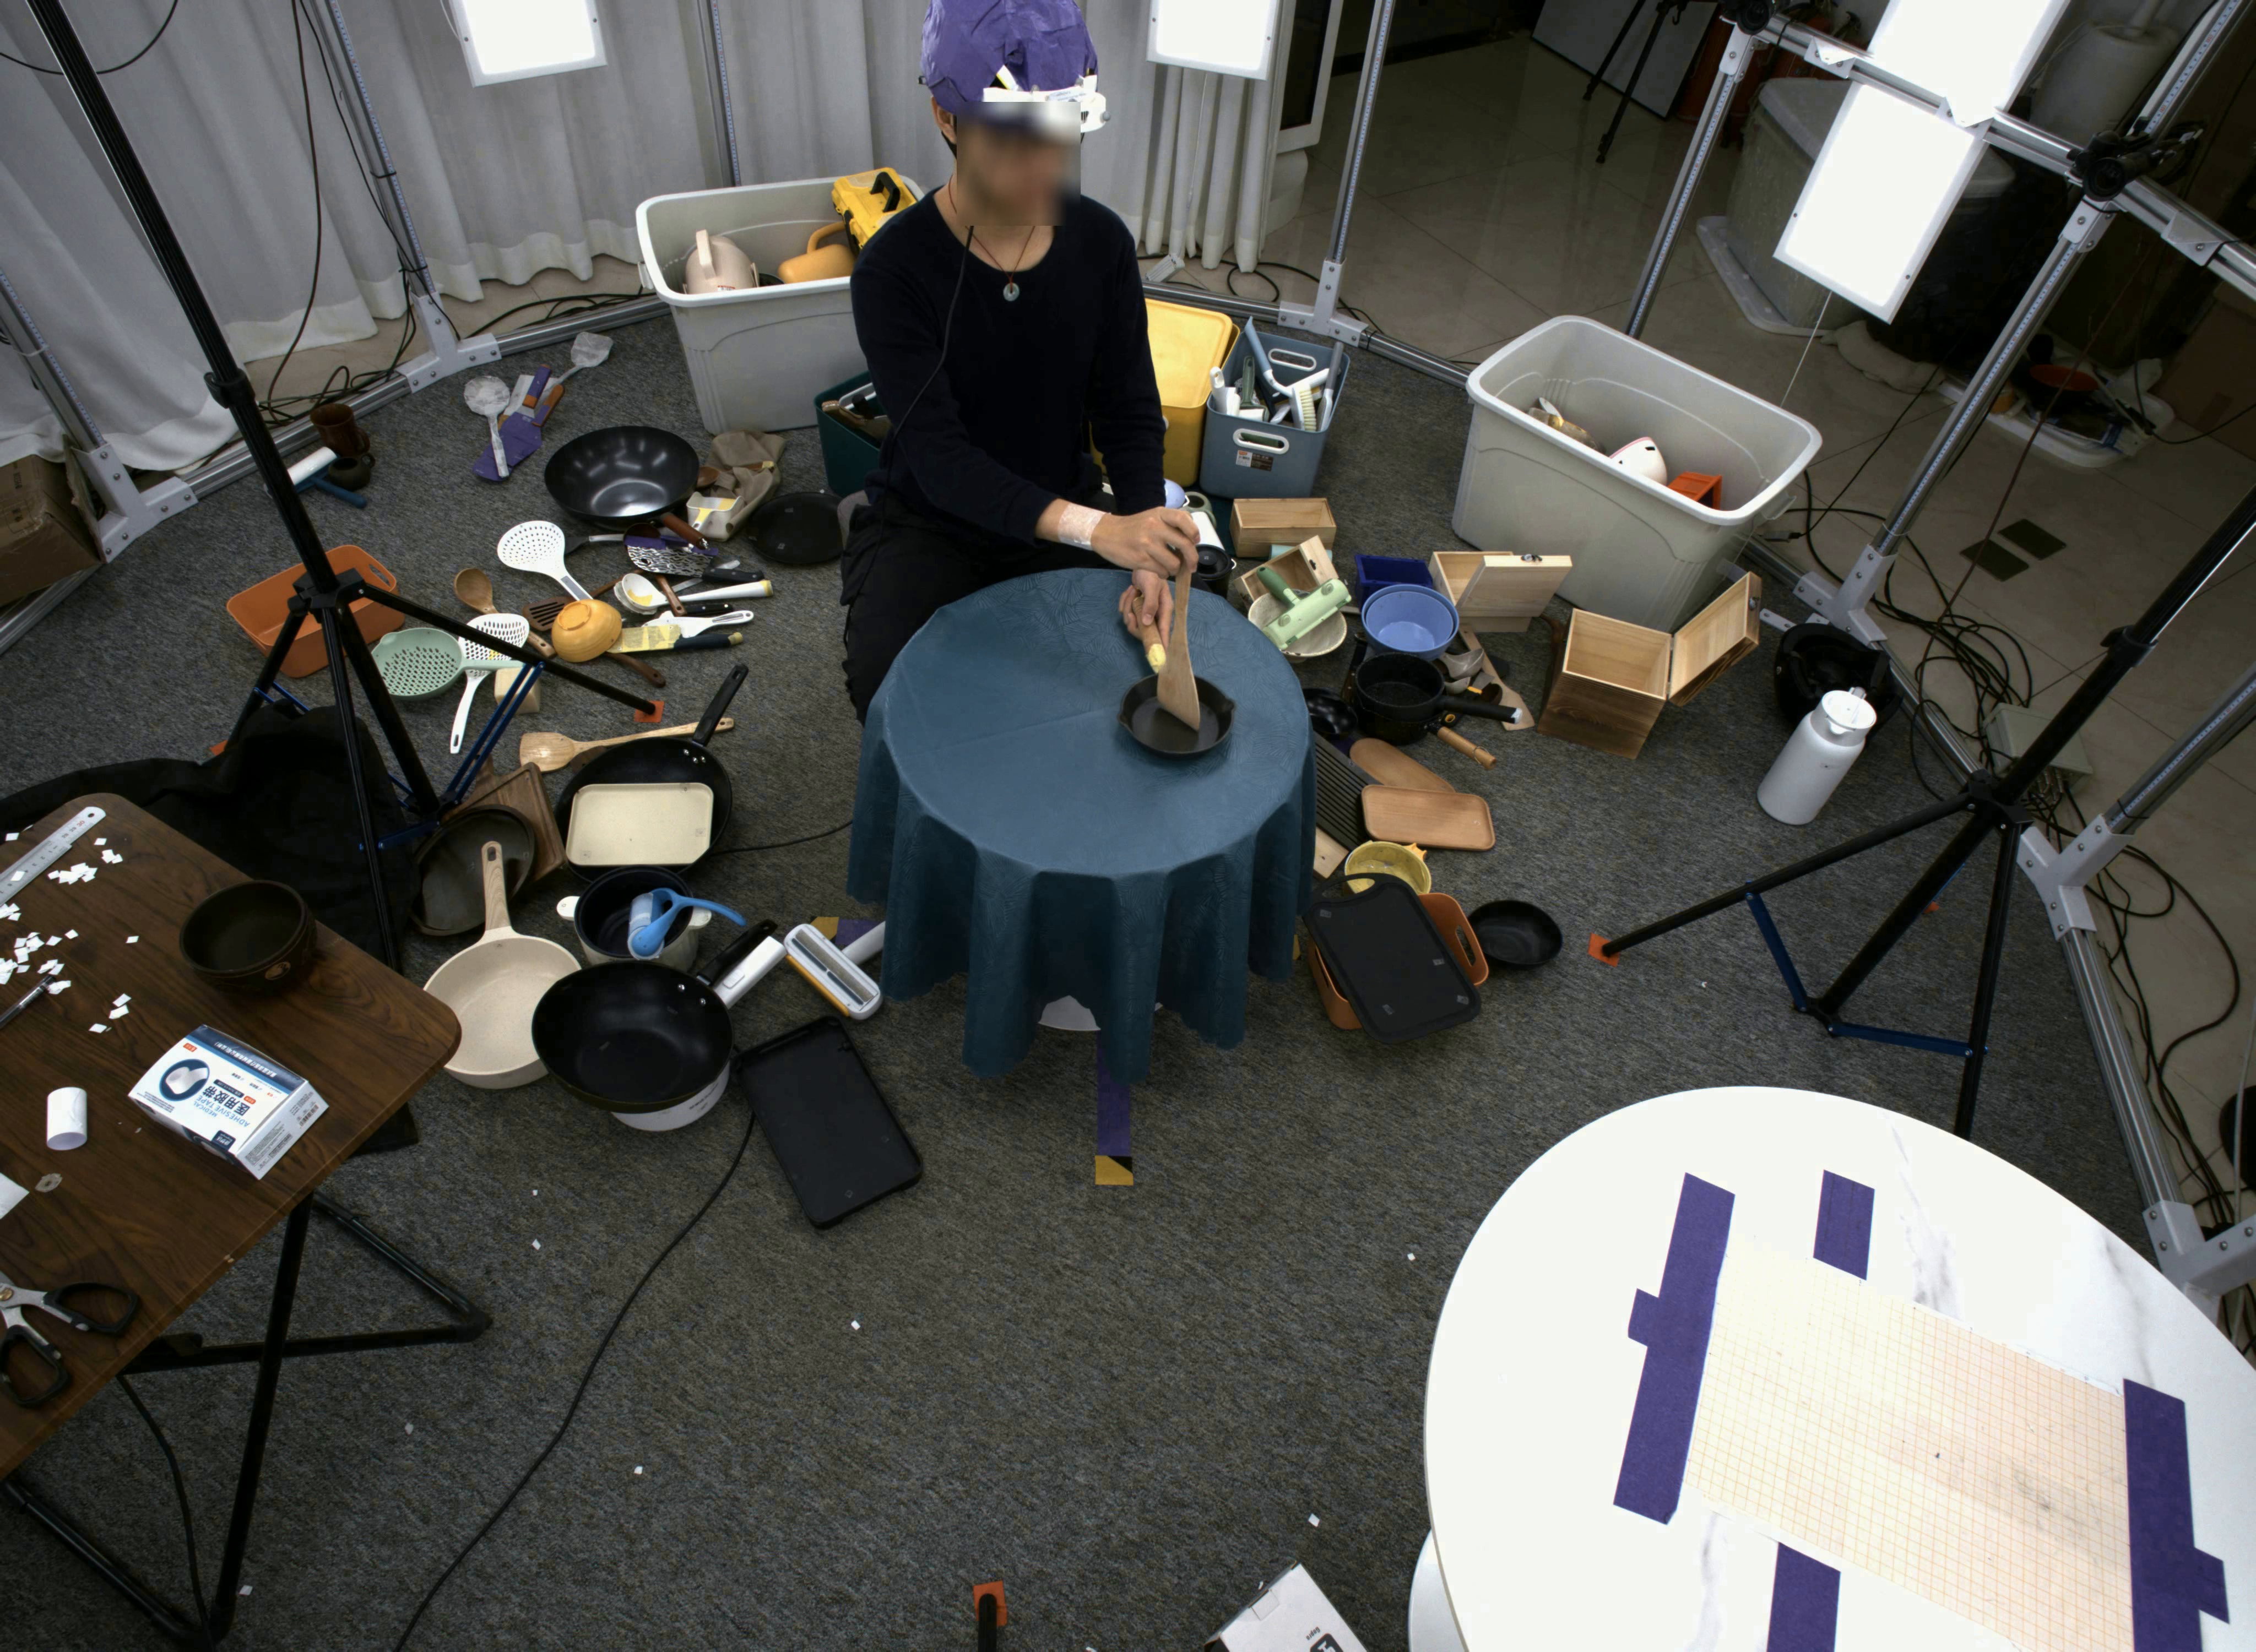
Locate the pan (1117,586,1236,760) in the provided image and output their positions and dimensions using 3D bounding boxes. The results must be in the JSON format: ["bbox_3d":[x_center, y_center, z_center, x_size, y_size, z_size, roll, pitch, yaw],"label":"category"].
[{"bbox_3d":[0.050,-0.219,1.830,0.169,0.048,0.332,-7,51,-10],"label":"pan"}]

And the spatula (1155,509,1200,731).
[{"bbox_3d":[0.070,-0.269,1.702,0.081,0.320,0.016,30,46,32],"label":"spatula"}]
